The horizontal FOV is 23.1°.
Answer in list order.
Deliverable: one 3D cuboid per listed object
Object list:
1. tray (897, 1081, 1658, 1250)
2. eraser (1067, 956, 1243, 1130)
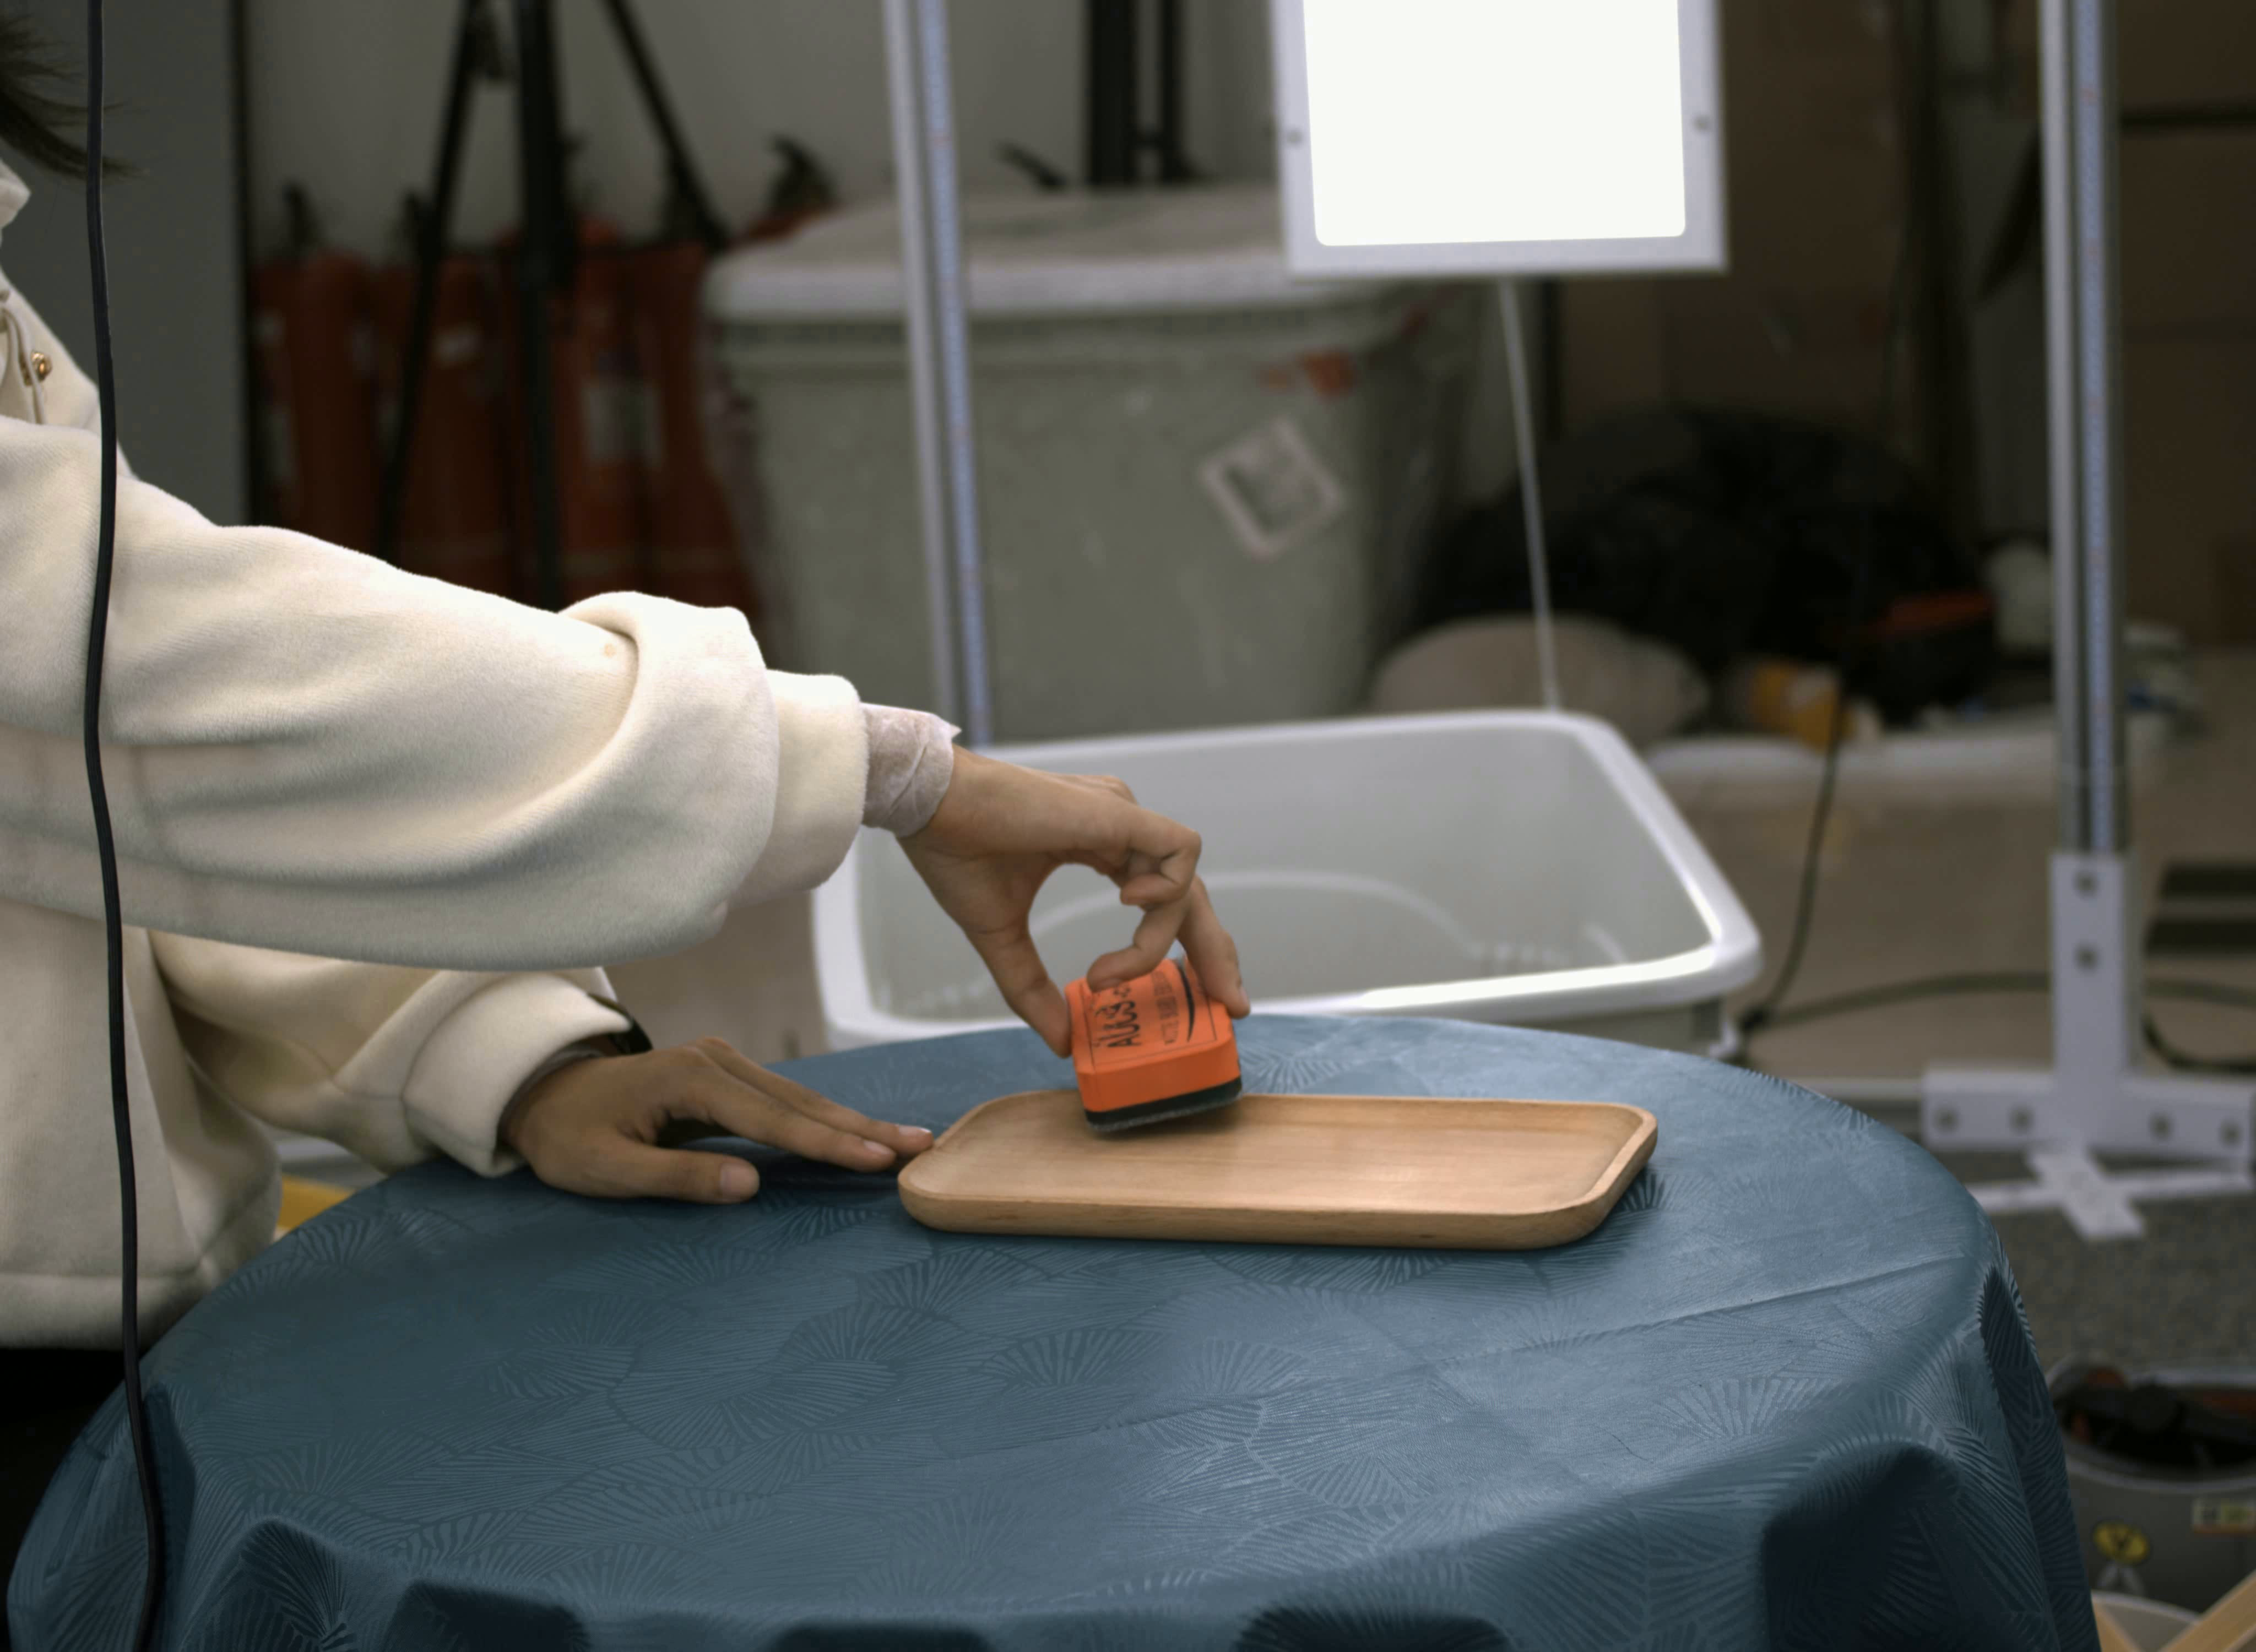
[{"bbox_3d":[0.051,0.116,1.886,0.254,0.023,0.128,0,12,22],"label":"tray"},{"bbox_3d":[0.009,0.077,1.973,0.059,0.023,0.108,-12,16,2],"label":"eraser"}]
